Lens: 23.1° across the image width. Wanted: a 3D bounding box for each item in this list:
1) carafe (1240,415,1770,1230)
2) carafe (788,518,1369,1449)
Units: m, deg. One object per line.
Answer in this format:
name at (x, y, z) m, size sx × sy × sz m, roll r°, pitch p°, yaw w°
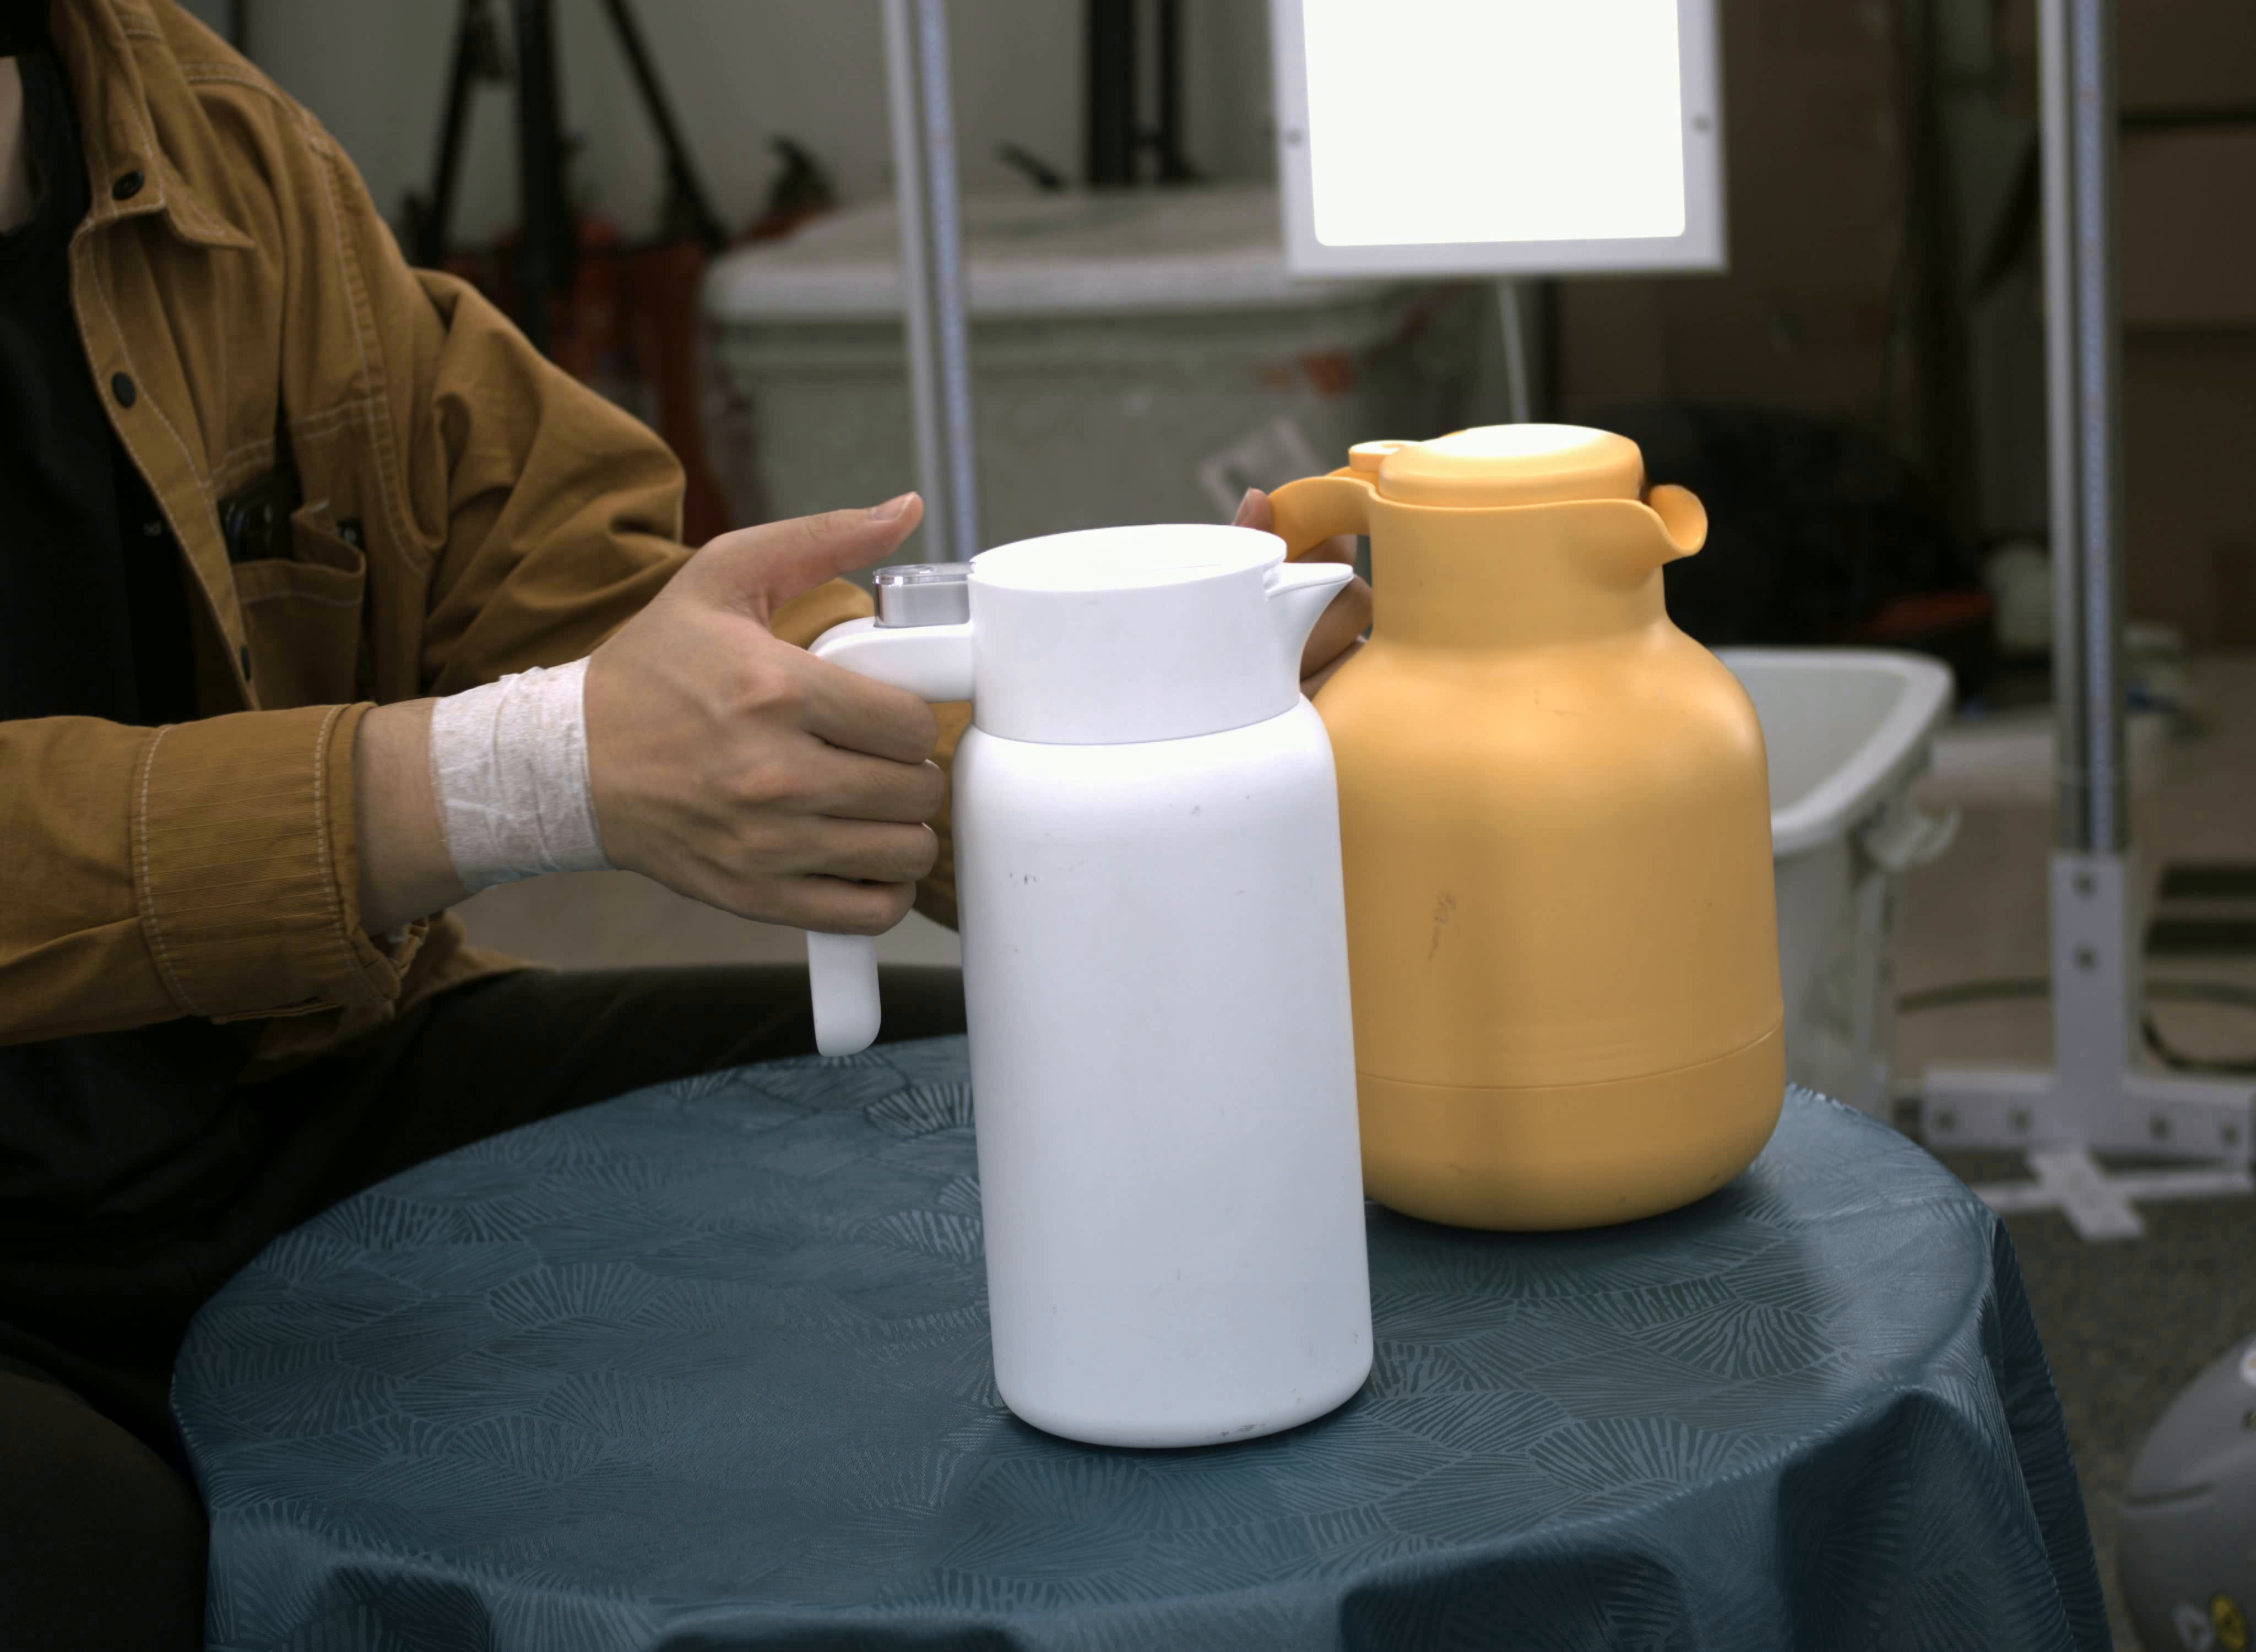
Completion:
carafe at (0.120, -0.008, 1.849) m, size 0.159 × 0.261 × 0.207 m, roll -13°, pitch 18°, yaw -42°
carafe at (-0.010, 0.047, 1.662) m, size 0.172 × 0.270 × 0.123 m, roll -4°, pitch 15°, yaw 2°
